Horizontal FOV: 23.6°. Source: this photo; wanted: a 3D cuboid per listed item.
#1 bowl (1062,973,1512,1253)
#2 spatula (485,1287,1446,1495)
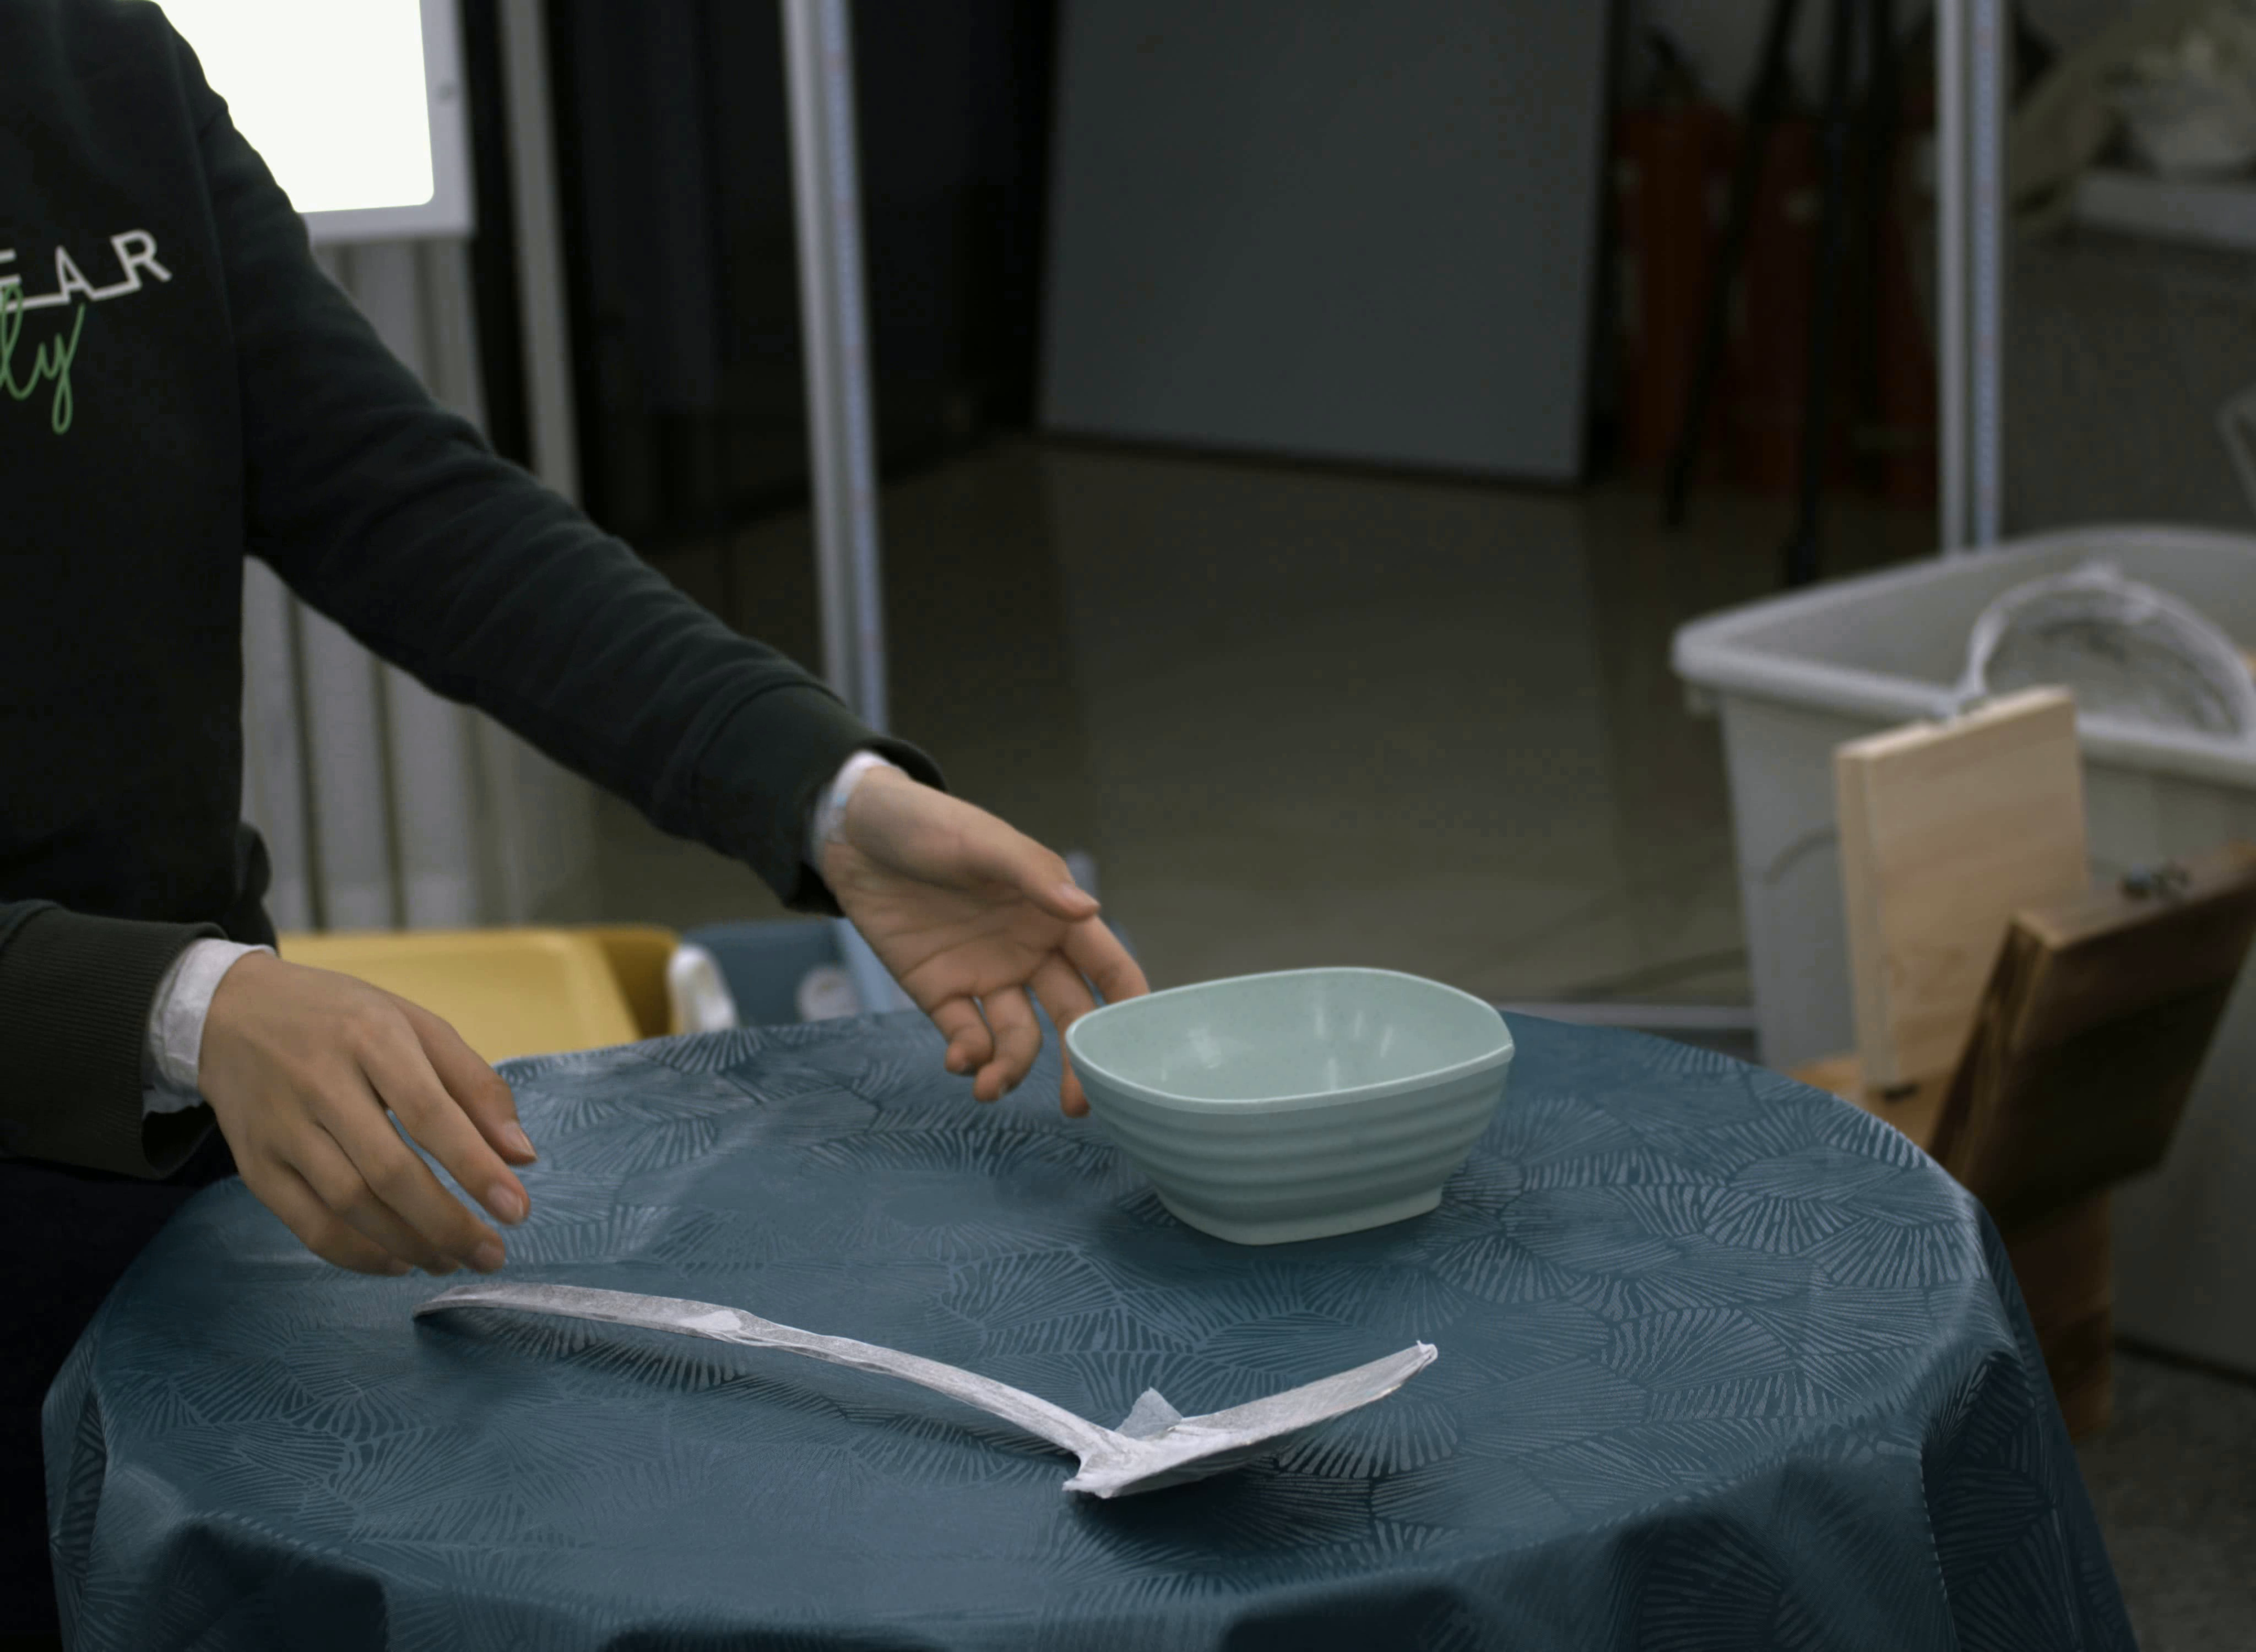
[{"bbox_3d":[0.052,0.096,1.746,0.149,0.059,0.152,-2,14,0],"label":"bowl"},{"bbox_3d":[-0.068,0.153,1.581,0.368,0.045,0.097,8,20,40],"label":"spatula"}]
